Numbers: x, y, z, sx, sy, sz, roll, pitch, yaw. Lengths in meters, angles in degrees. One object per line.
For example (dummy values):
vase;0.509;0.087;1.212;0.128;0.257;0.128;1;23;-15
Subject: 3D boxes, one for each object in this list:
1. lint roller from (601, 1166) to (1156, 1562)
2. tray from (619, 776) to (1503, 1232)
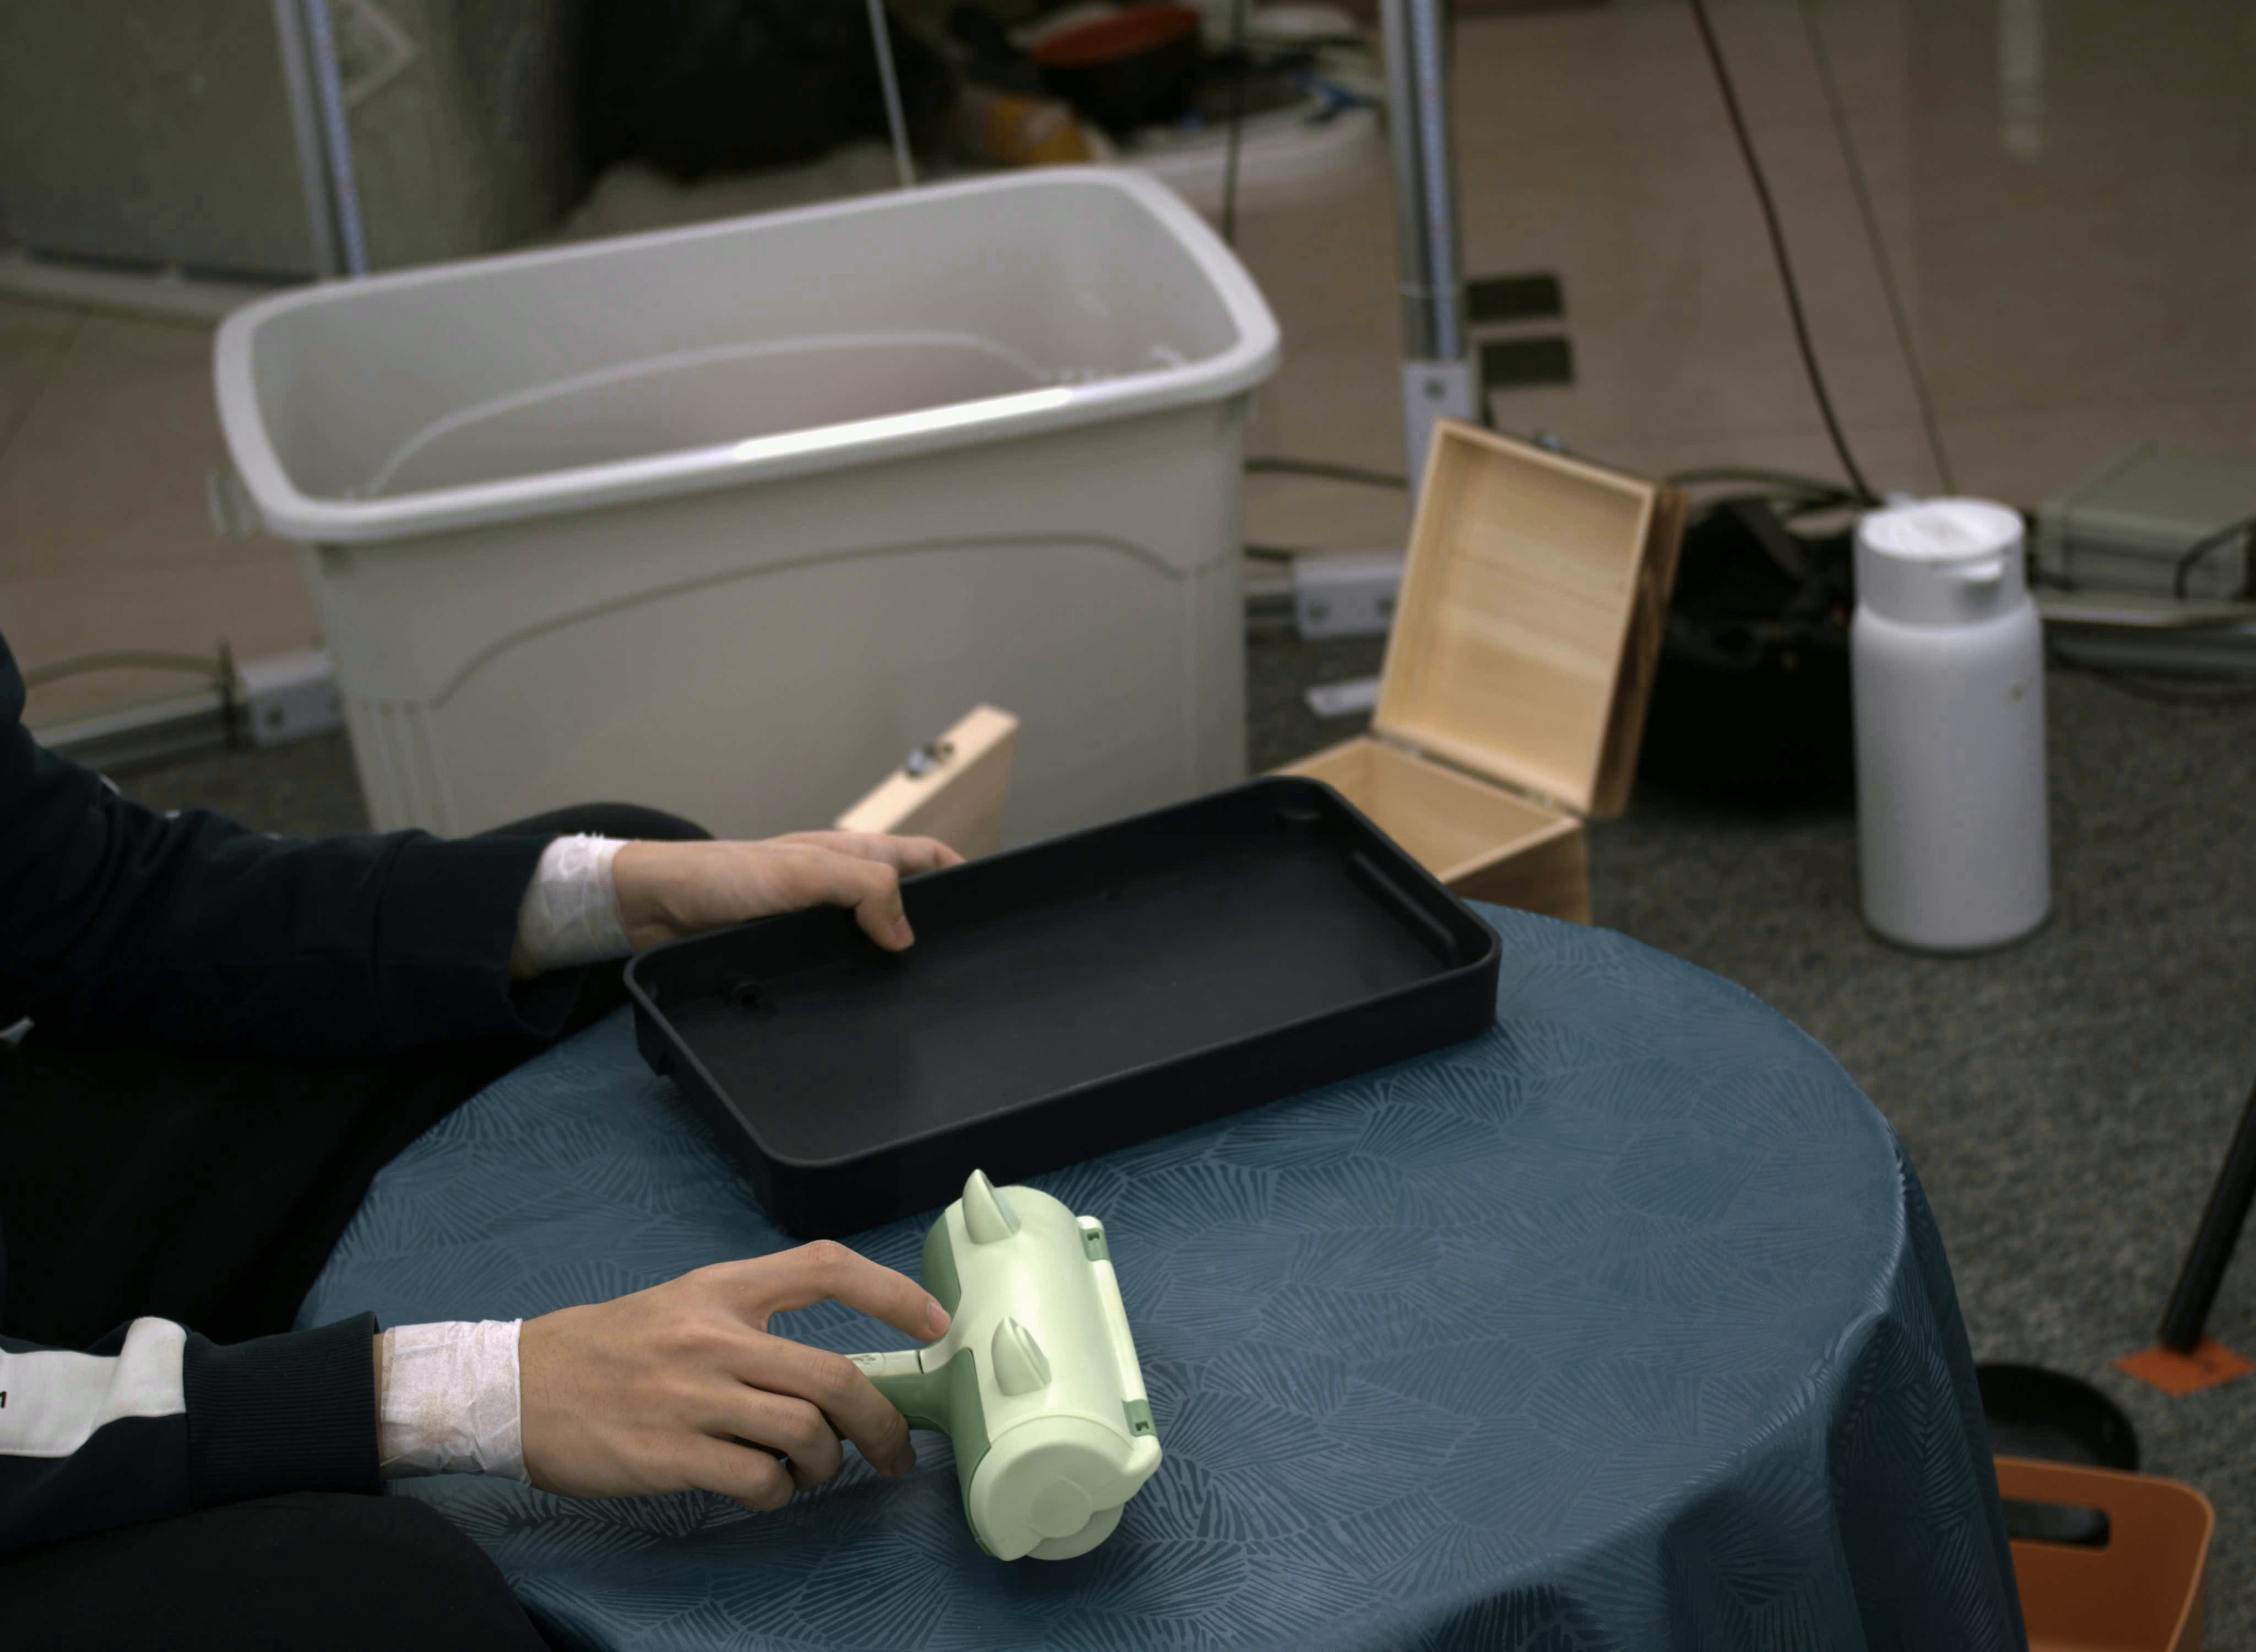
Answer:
lint roller;-0.091;0.181;1.955;0.183;0.083;0.196;-2;23;-6
tray;-0.026;0.066;2.240;0.316;0.038;0.182;-15;32;-21
